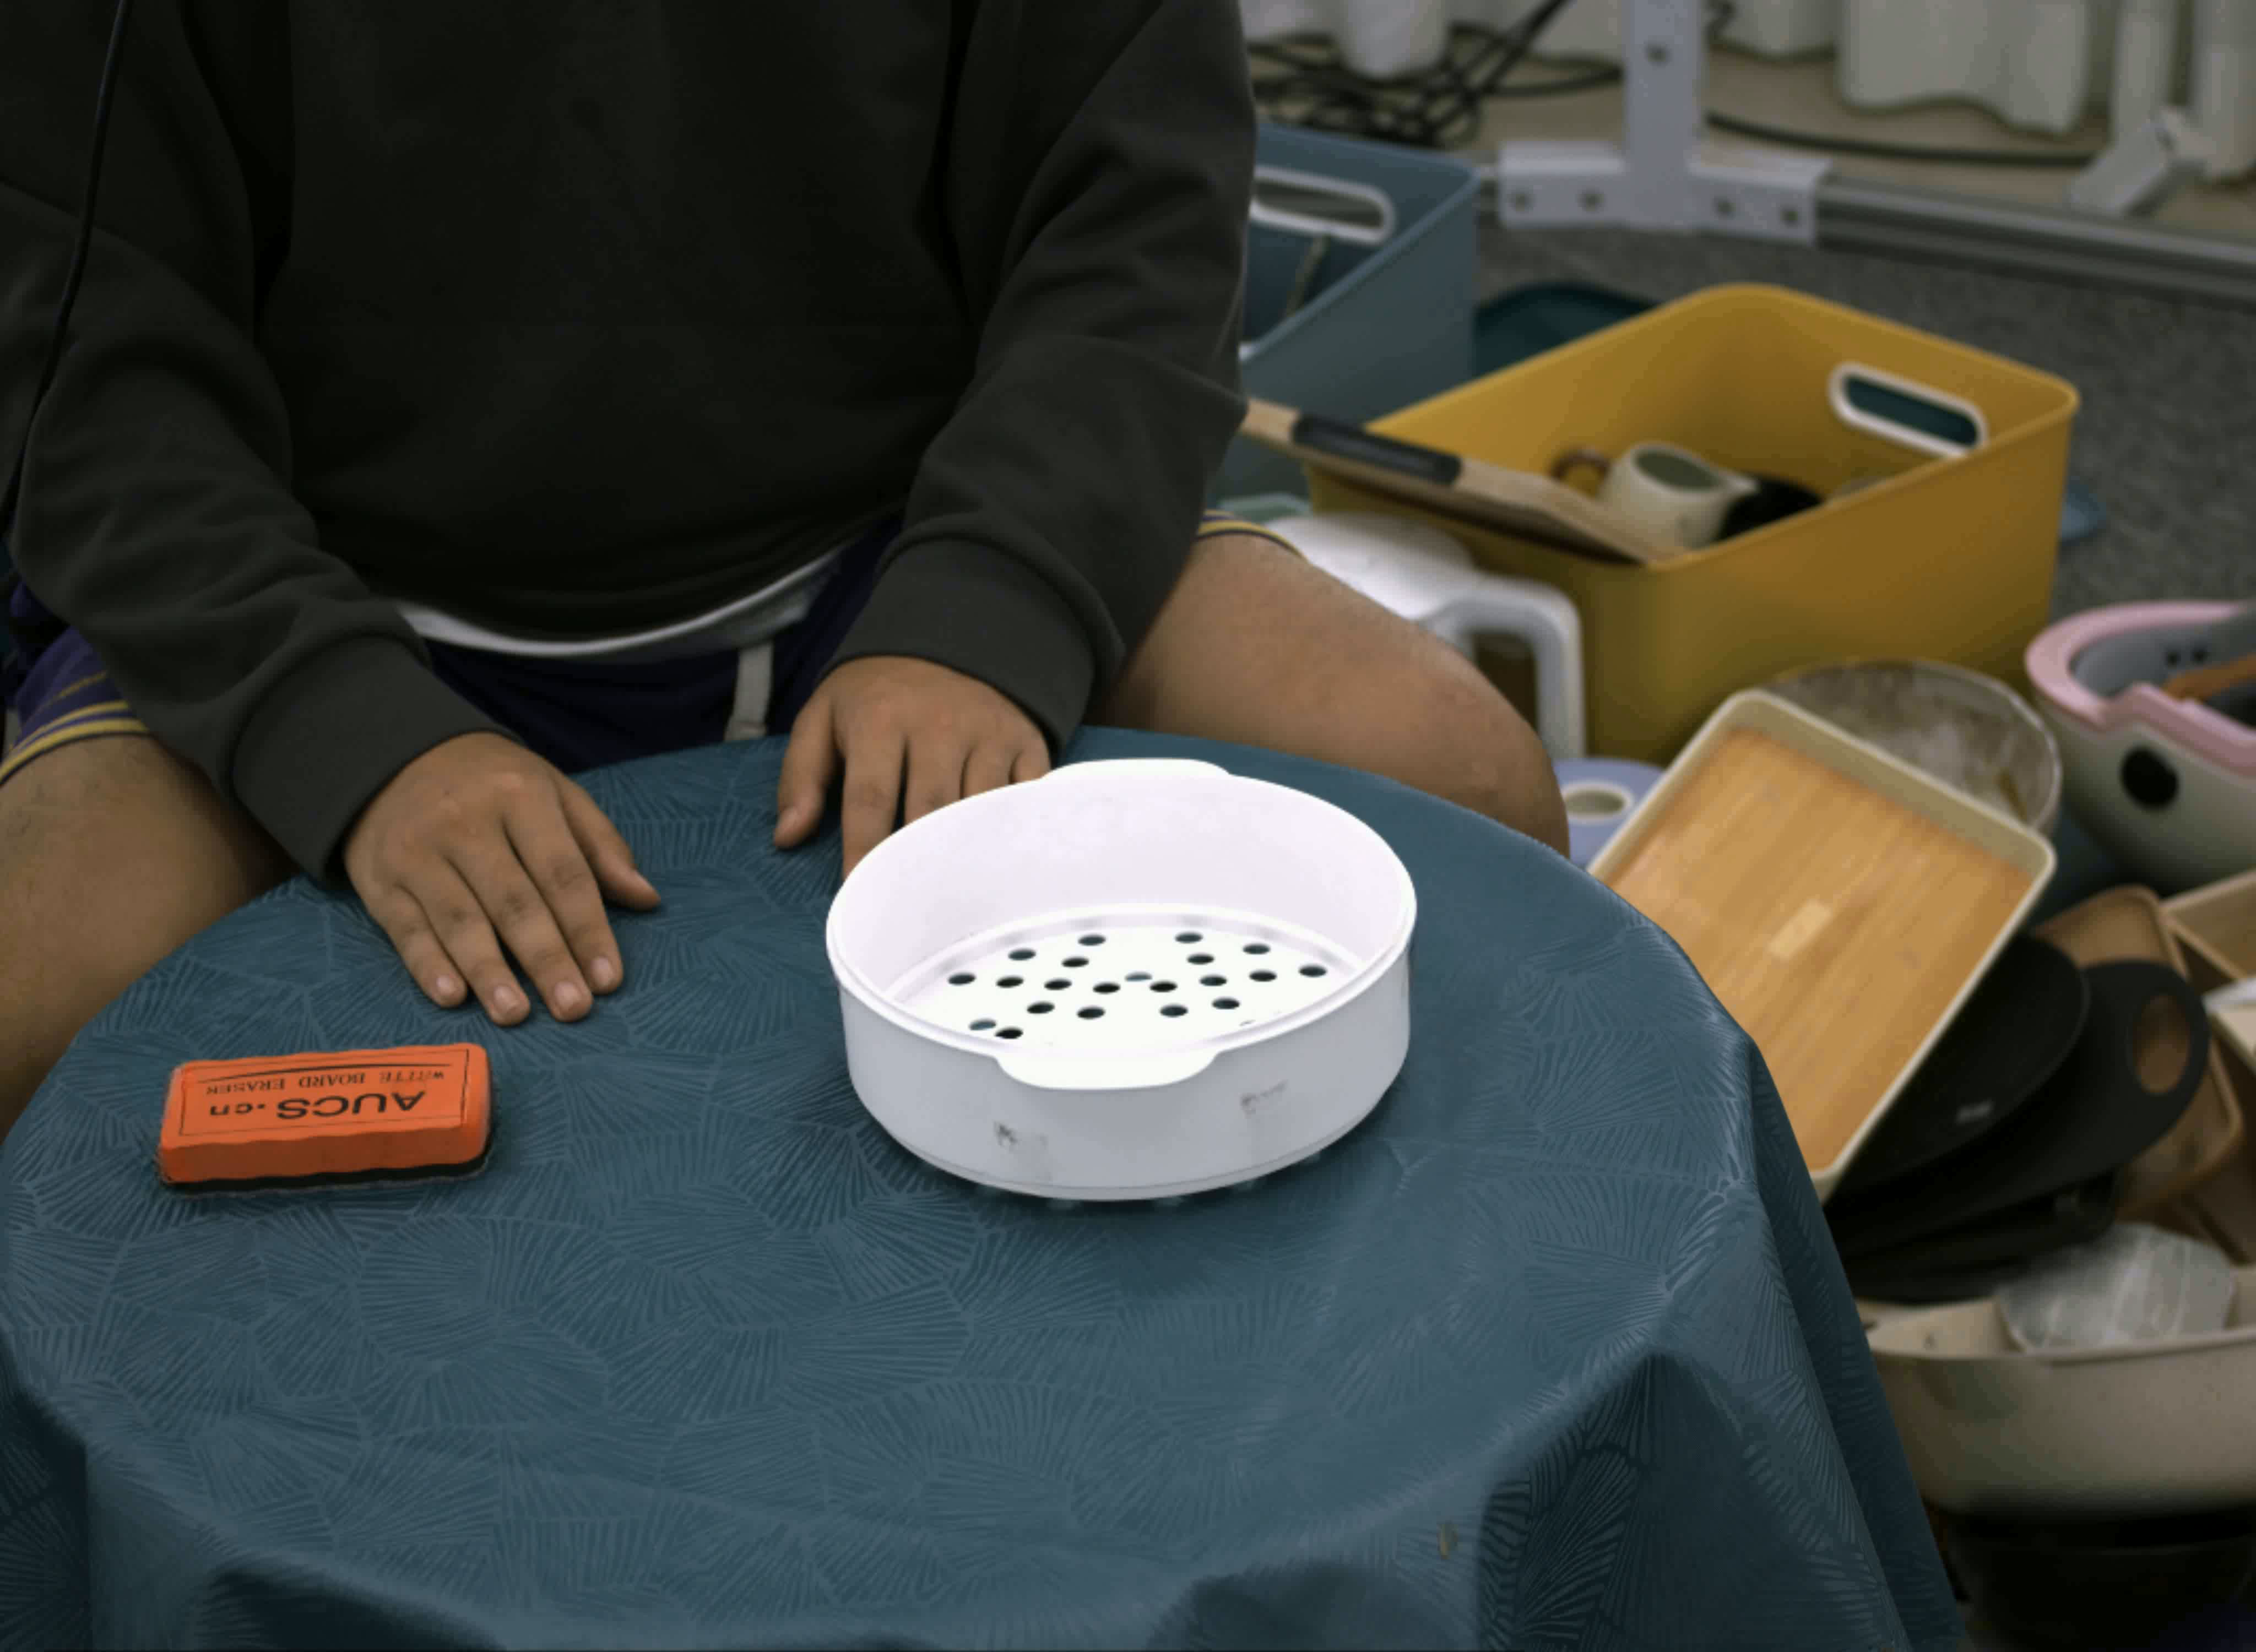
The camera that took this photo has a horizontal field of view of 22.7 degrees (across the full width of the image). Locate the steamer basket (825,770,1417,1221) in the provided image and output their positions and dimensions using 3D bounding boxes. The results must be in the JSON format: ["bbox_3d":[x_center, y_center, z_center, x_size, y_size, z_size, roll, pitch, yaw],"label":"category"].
[{"bbox_3d":[-0.001,0.059,1.914,0.201,0.068,0.234,-2,28,3],"label":"steamer basket"}]

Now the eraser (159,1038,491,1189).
[{"bbox_3d":[-0.271,0.098,1.902,0.107,0.022,0.059,-5,22,-2],"label":"eraser"}]
